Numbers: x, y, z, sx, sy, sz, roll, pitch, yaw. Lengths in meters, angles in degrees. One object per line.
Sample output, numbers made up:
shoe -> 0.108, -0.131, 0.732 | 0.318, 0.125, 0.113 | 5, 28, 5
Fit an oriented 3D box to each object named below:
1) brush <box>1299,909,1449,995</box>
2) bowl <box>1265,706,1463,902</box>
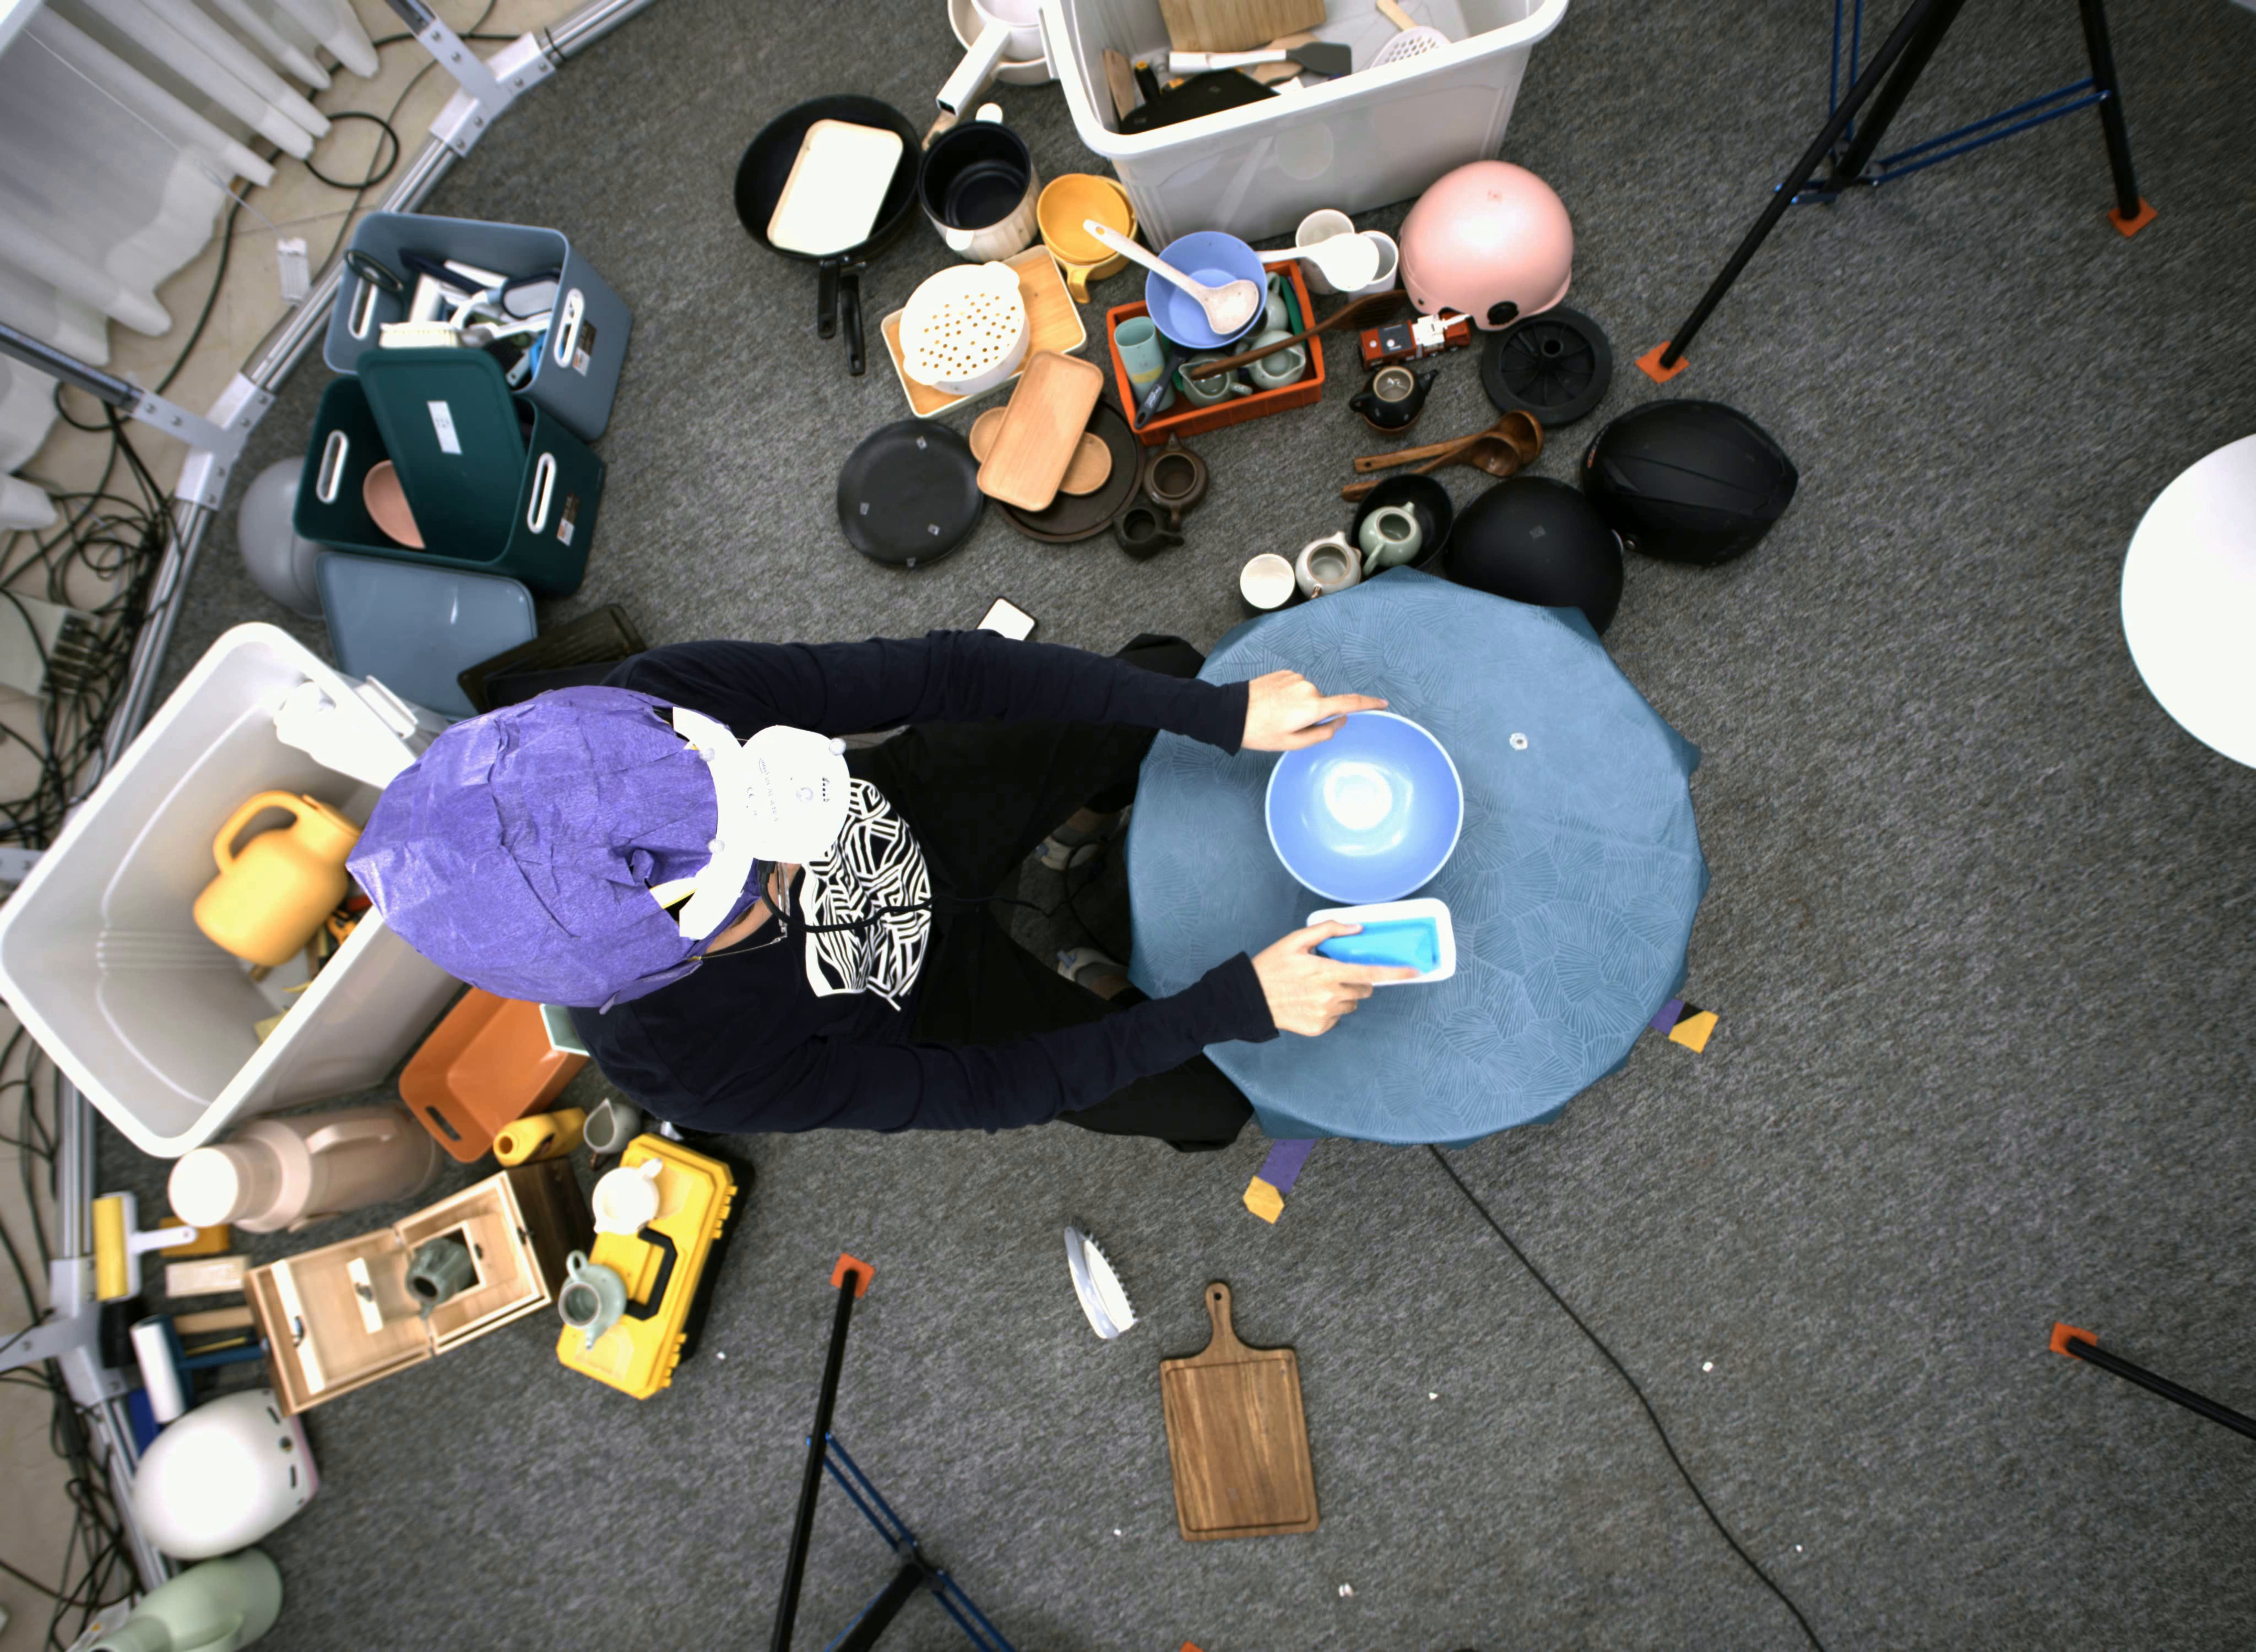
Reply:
brush -> 0.236, 0.123, 1.336 | 0.145, 0.055, 0.084 | -4, 98, 15
bowl -> 0.237, -0.027, 1.411 | 0.197, 0.094, 0.198 | 1, 99, 4
